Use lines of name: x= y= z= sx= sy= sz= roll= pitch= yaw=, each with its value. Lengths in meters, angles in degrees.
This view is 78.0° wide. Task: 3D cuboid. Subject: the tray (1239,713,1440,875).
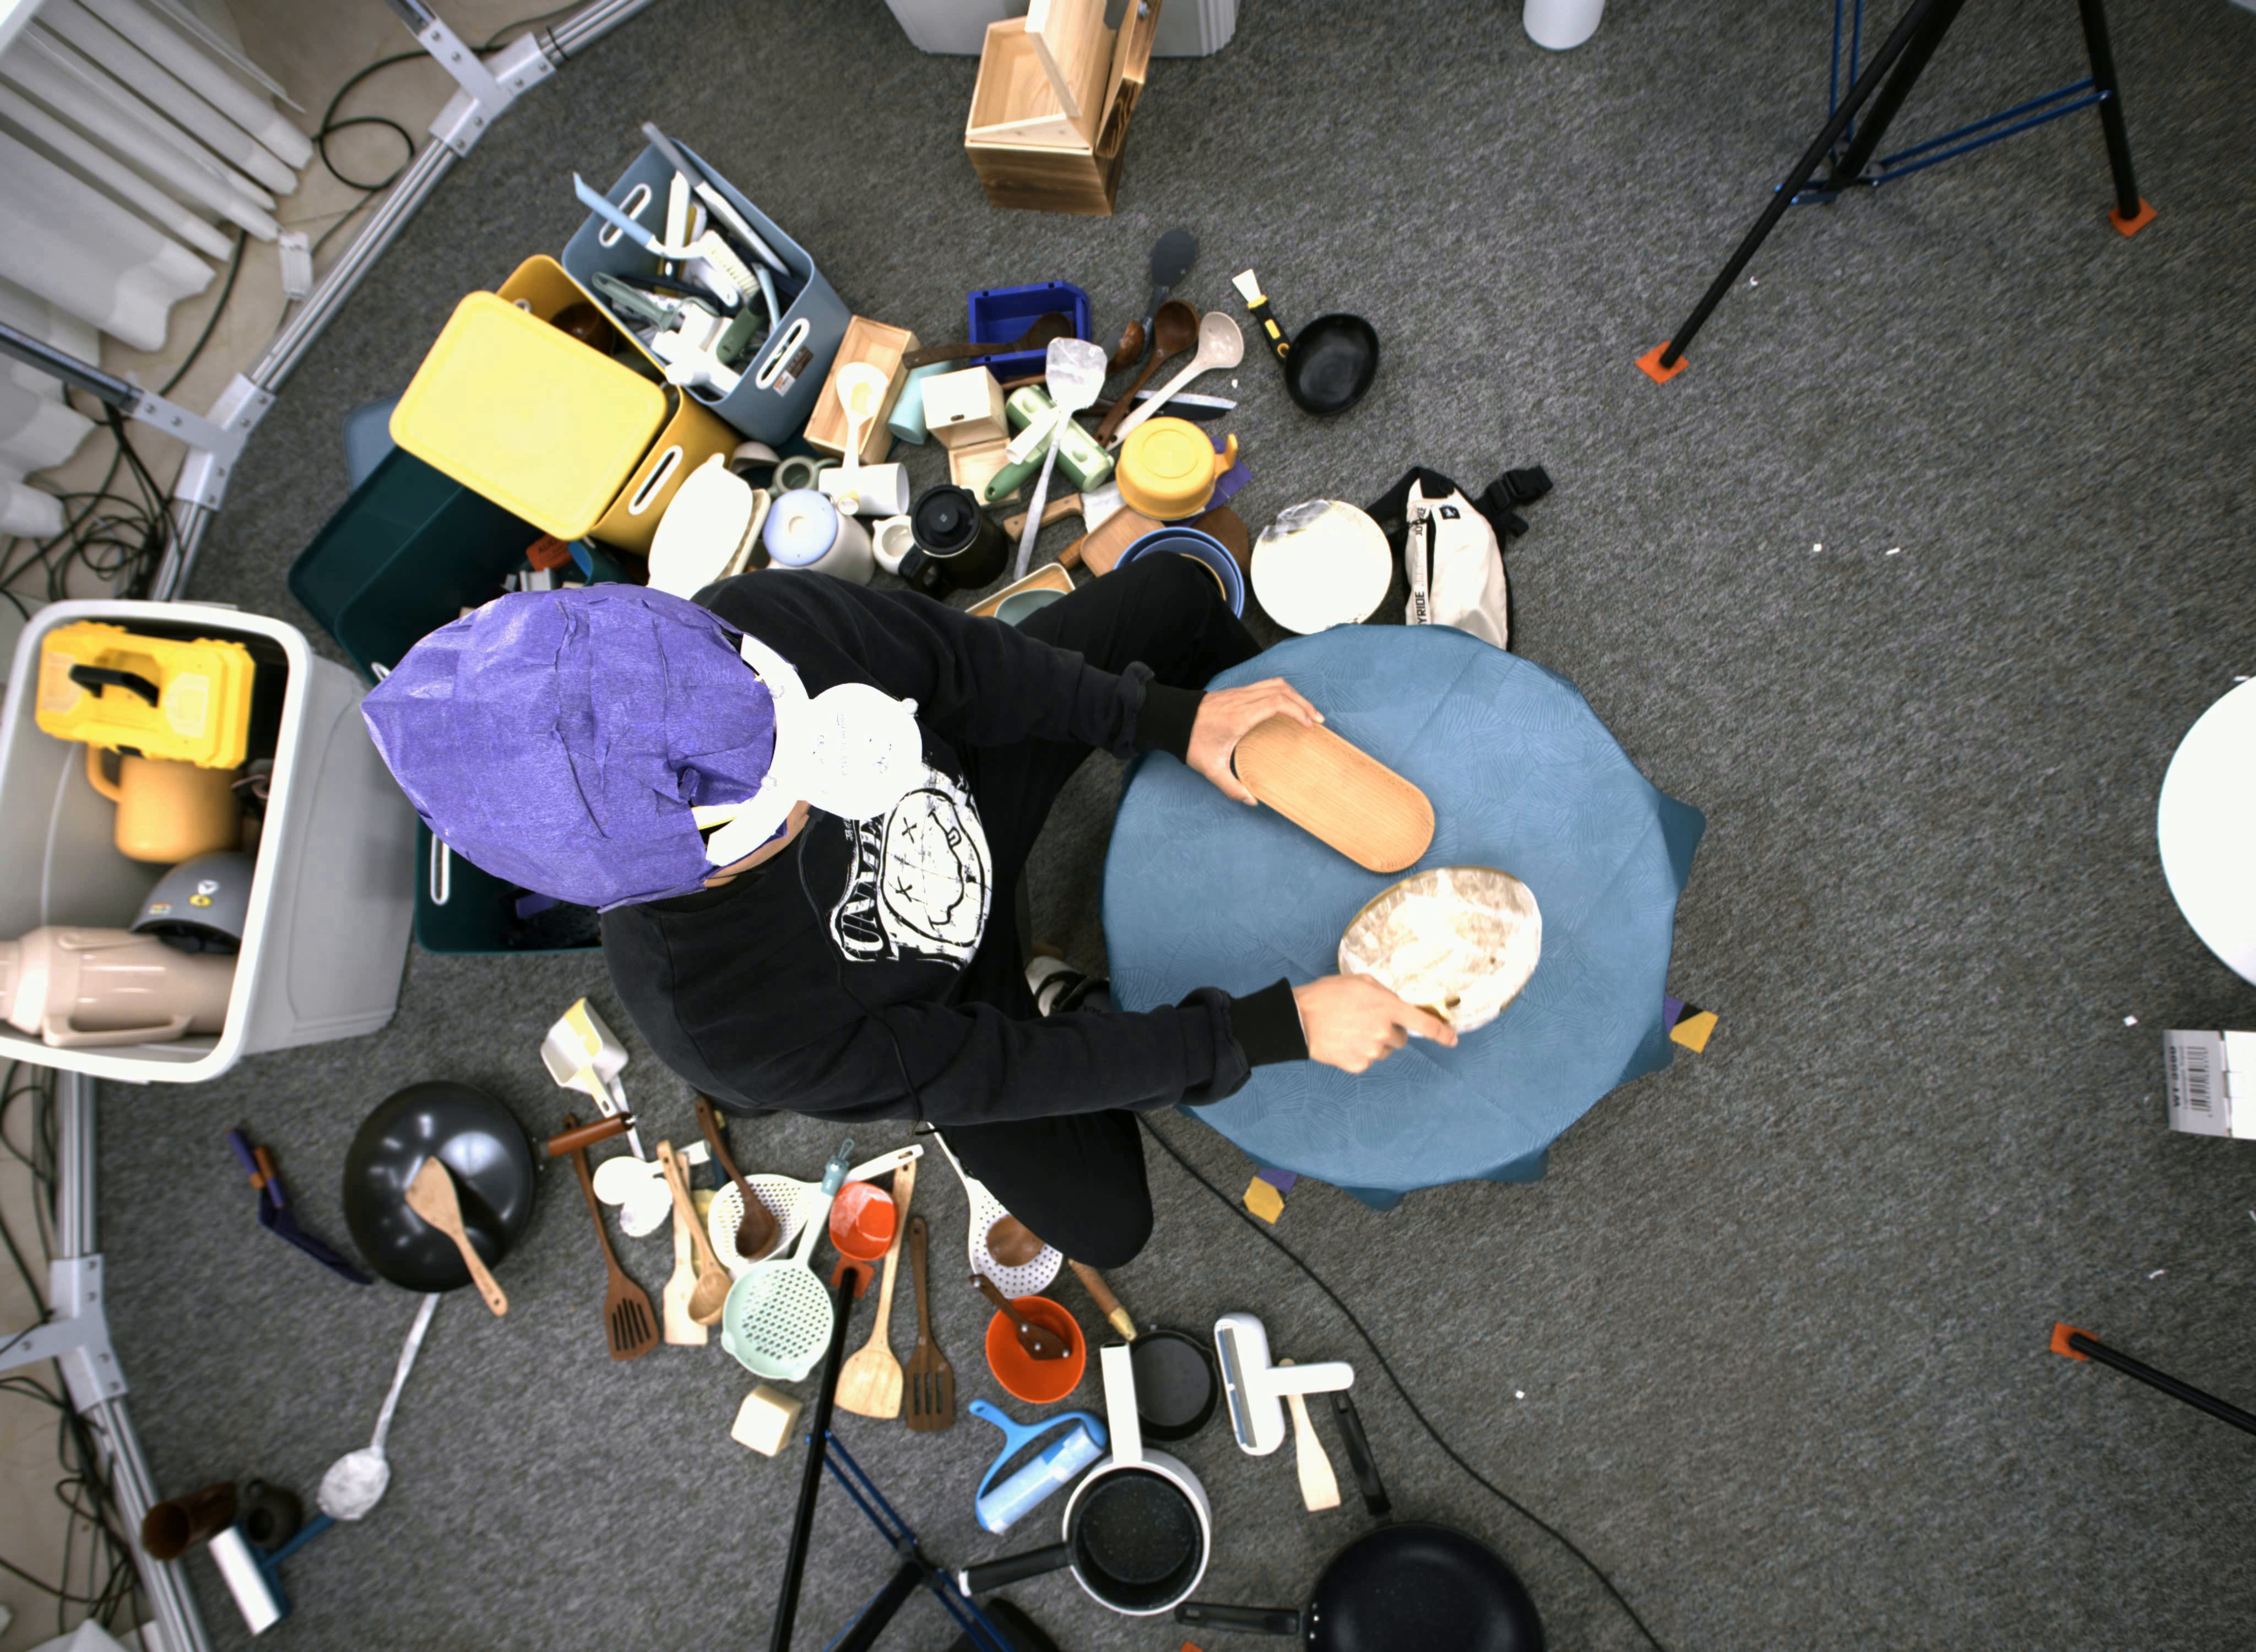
tray: x=0.221 y=-0.035 z=1.447 sx=0.231 sy=0.020 sz=0.102 roll=31 pitch=97 yaw=-5

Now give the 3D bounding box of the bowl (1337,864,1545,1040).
bowl: x=0.317 y=0.139 z=1.367 sx=0.216 sy=0.210 sz=0.096 roll=-27 pitch=120 yaw=6
